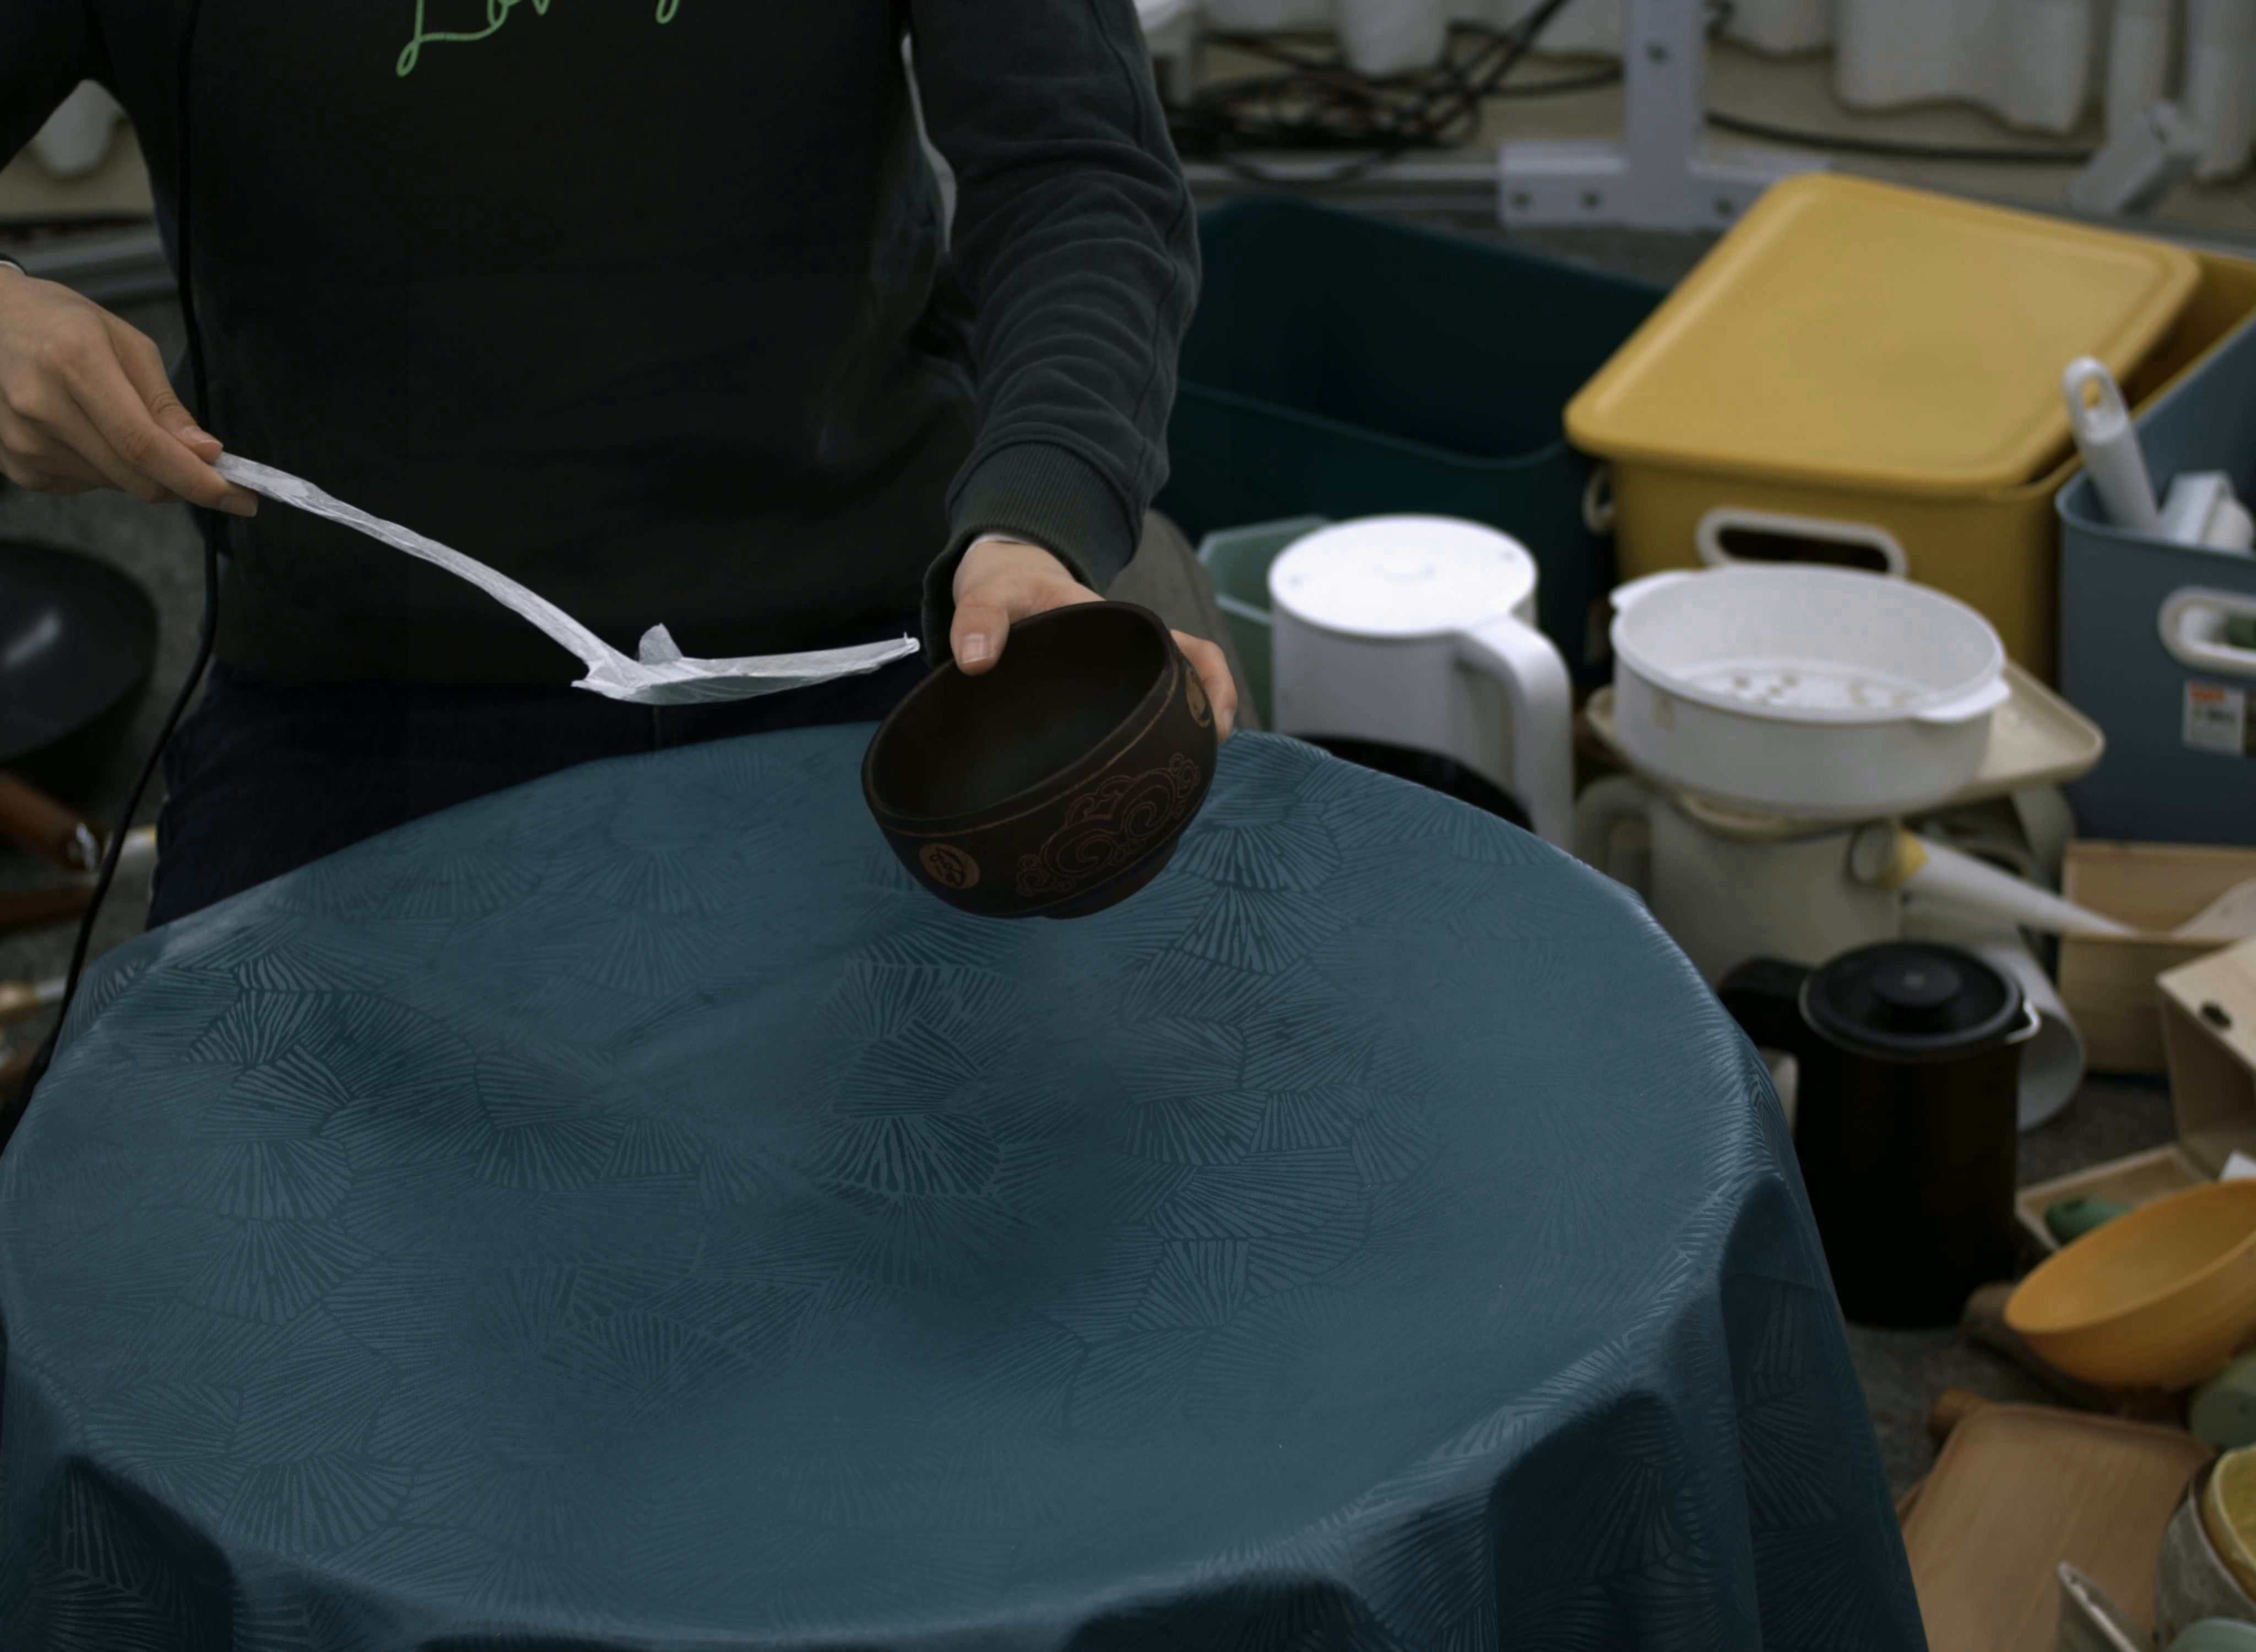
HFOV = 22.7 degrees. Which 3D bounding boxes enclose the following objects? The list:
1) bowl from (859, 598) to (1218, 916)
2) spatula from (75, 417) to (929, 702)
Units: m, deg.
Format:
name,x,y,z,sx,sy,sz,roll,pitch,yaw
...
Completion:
name,x,y,z,sx,sy,sz,roll,pitch,yaw
bowl,-0.023,-0.014,1.863,0.117,0.069,0.120,-21,27,12
spatula,-0.228,-0.096,1.879,0.364,0.044,0.099,23,23,31
